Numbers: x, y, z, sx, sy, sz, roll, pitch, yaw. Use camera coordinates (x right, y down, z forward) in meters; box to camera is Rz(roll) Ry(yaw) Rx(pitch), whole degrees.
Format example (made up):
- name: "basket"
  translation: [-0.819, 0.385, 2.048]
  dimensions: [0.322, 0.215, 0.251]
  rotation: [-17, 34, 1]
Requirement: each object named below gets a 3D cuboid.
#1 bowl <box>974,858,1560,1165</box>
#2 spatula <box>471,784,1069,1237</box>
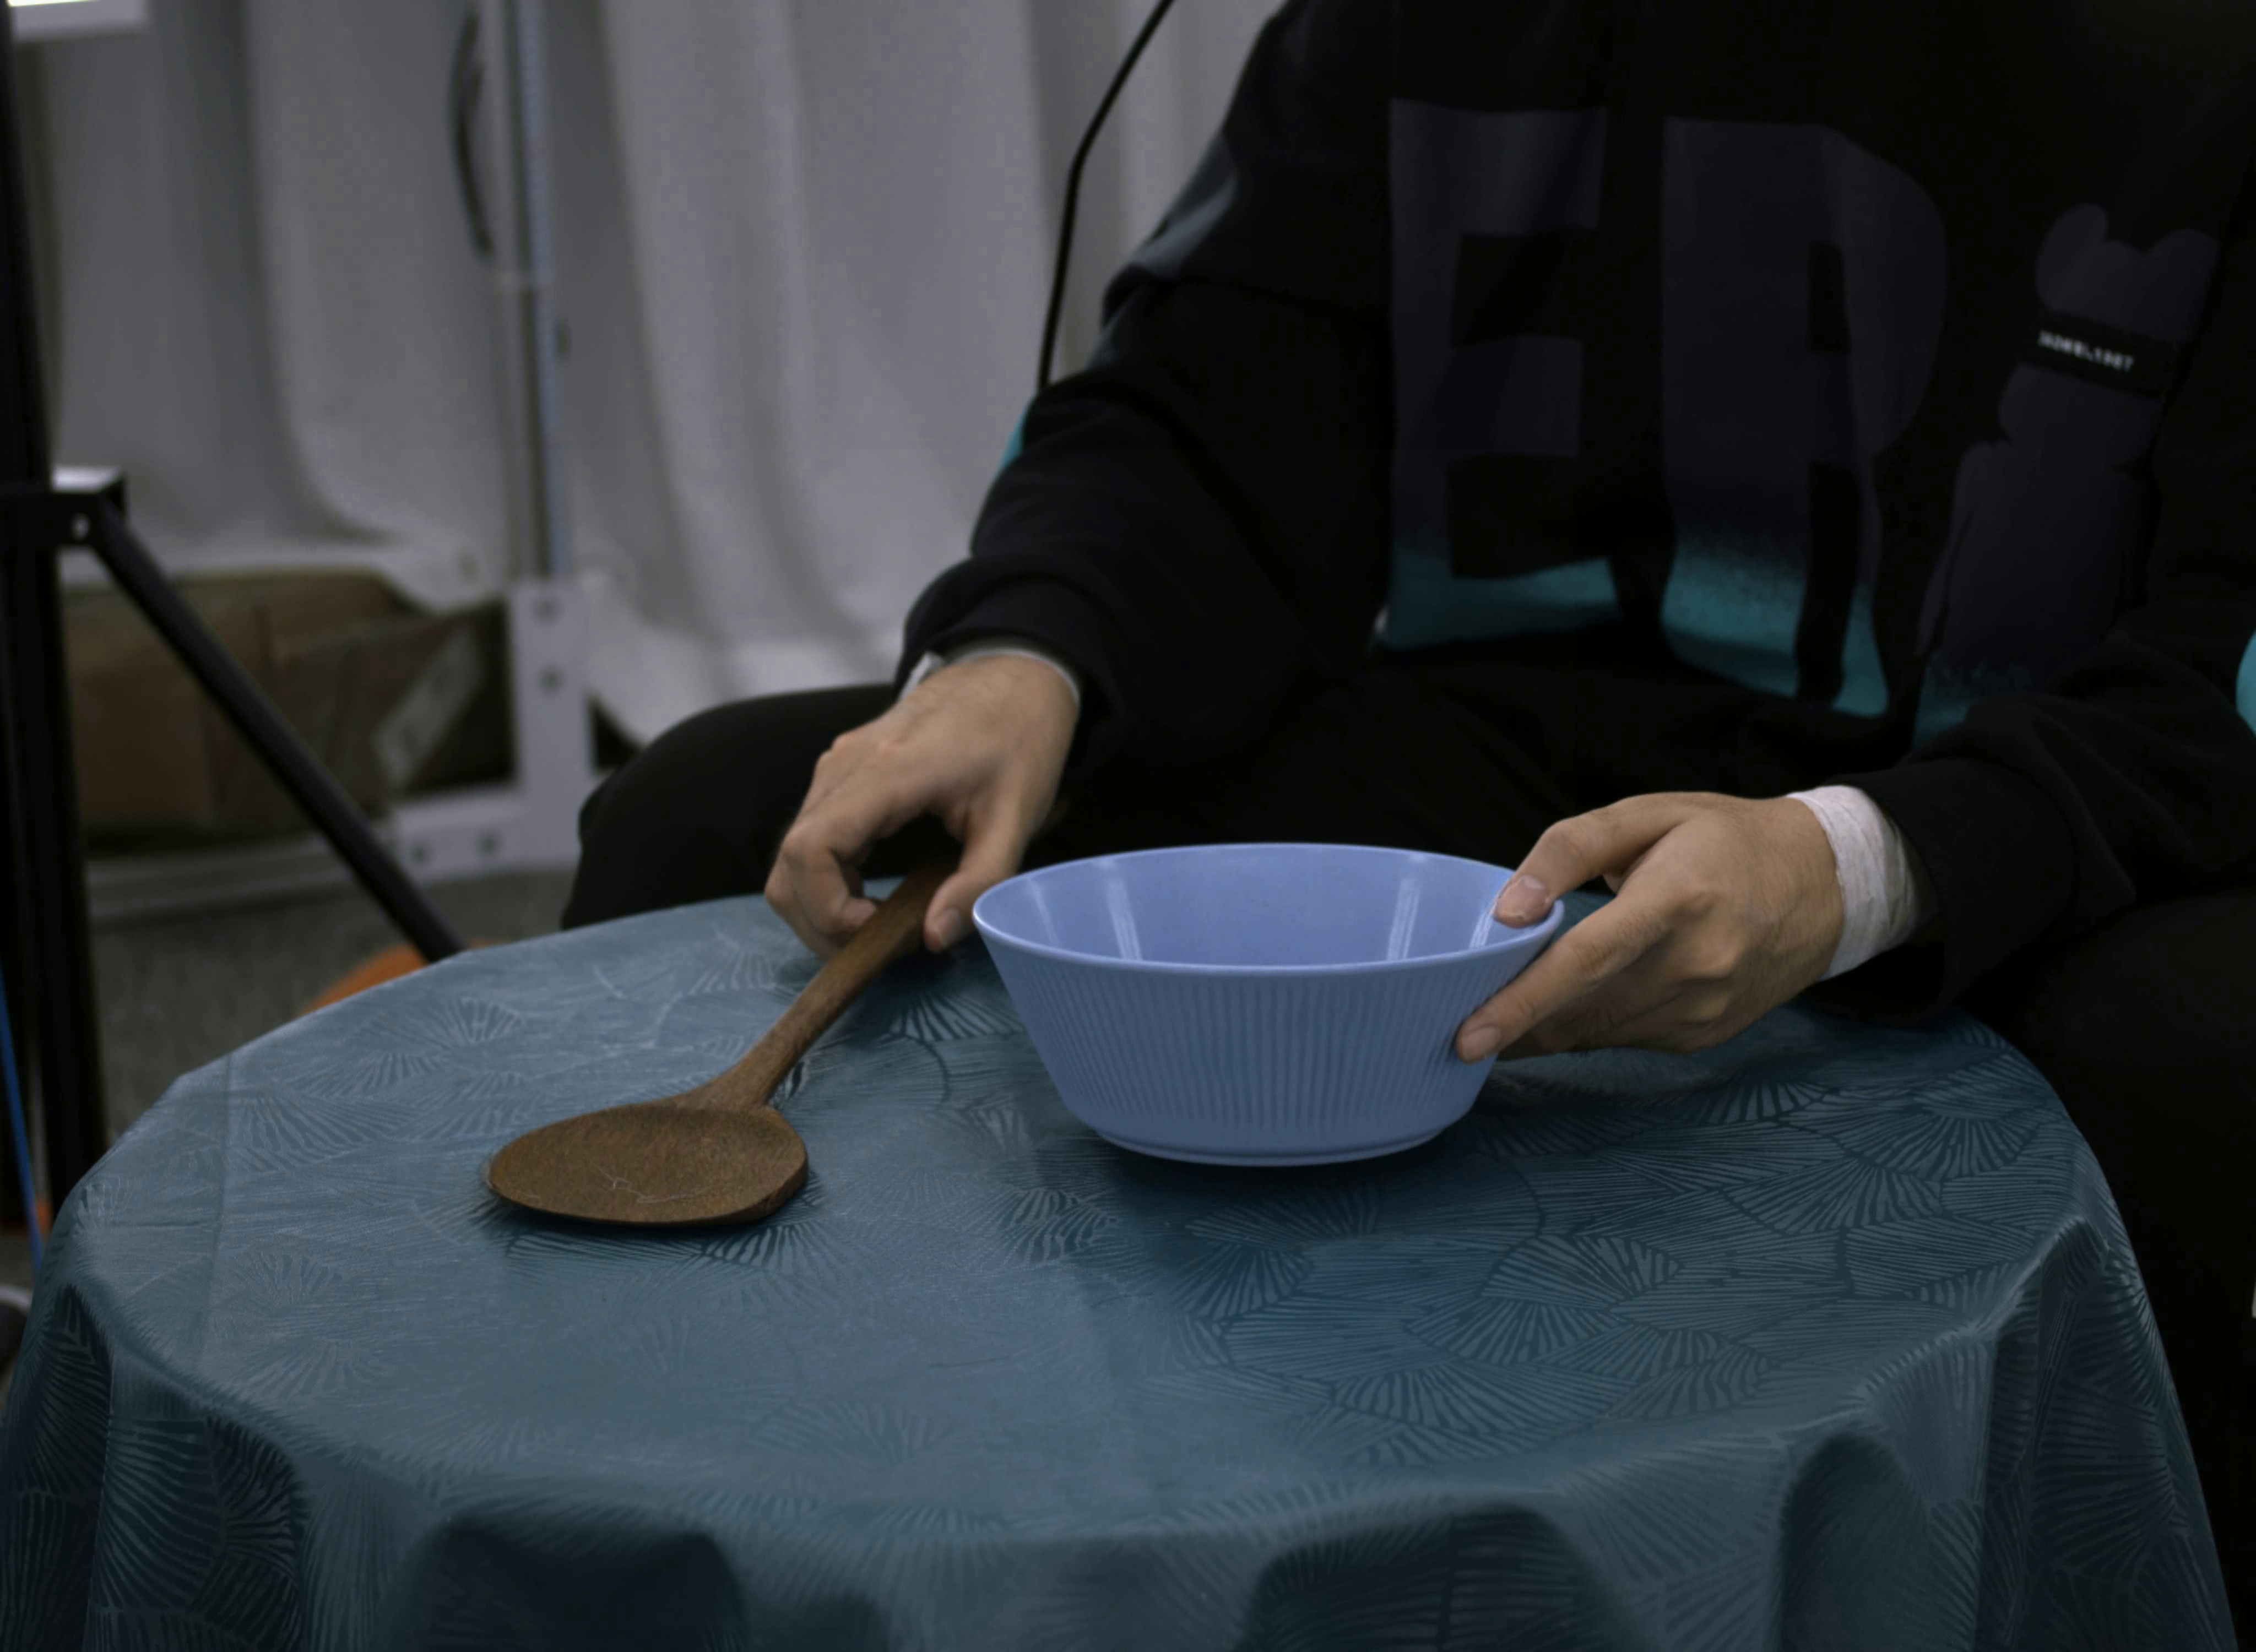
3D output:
- name: "bowl"
  translation: [0.041, 0.056, 1.585]
  dimensions: [0.175, 0.070, 0.176]
  rotation: [0, 10, -1]
- name: "spatula"
  translation: [-0.093, 0.052, 1.711]
  dimensions: [0.097, 0.016, 0.382]
  rotation: [4, 22, 19]
